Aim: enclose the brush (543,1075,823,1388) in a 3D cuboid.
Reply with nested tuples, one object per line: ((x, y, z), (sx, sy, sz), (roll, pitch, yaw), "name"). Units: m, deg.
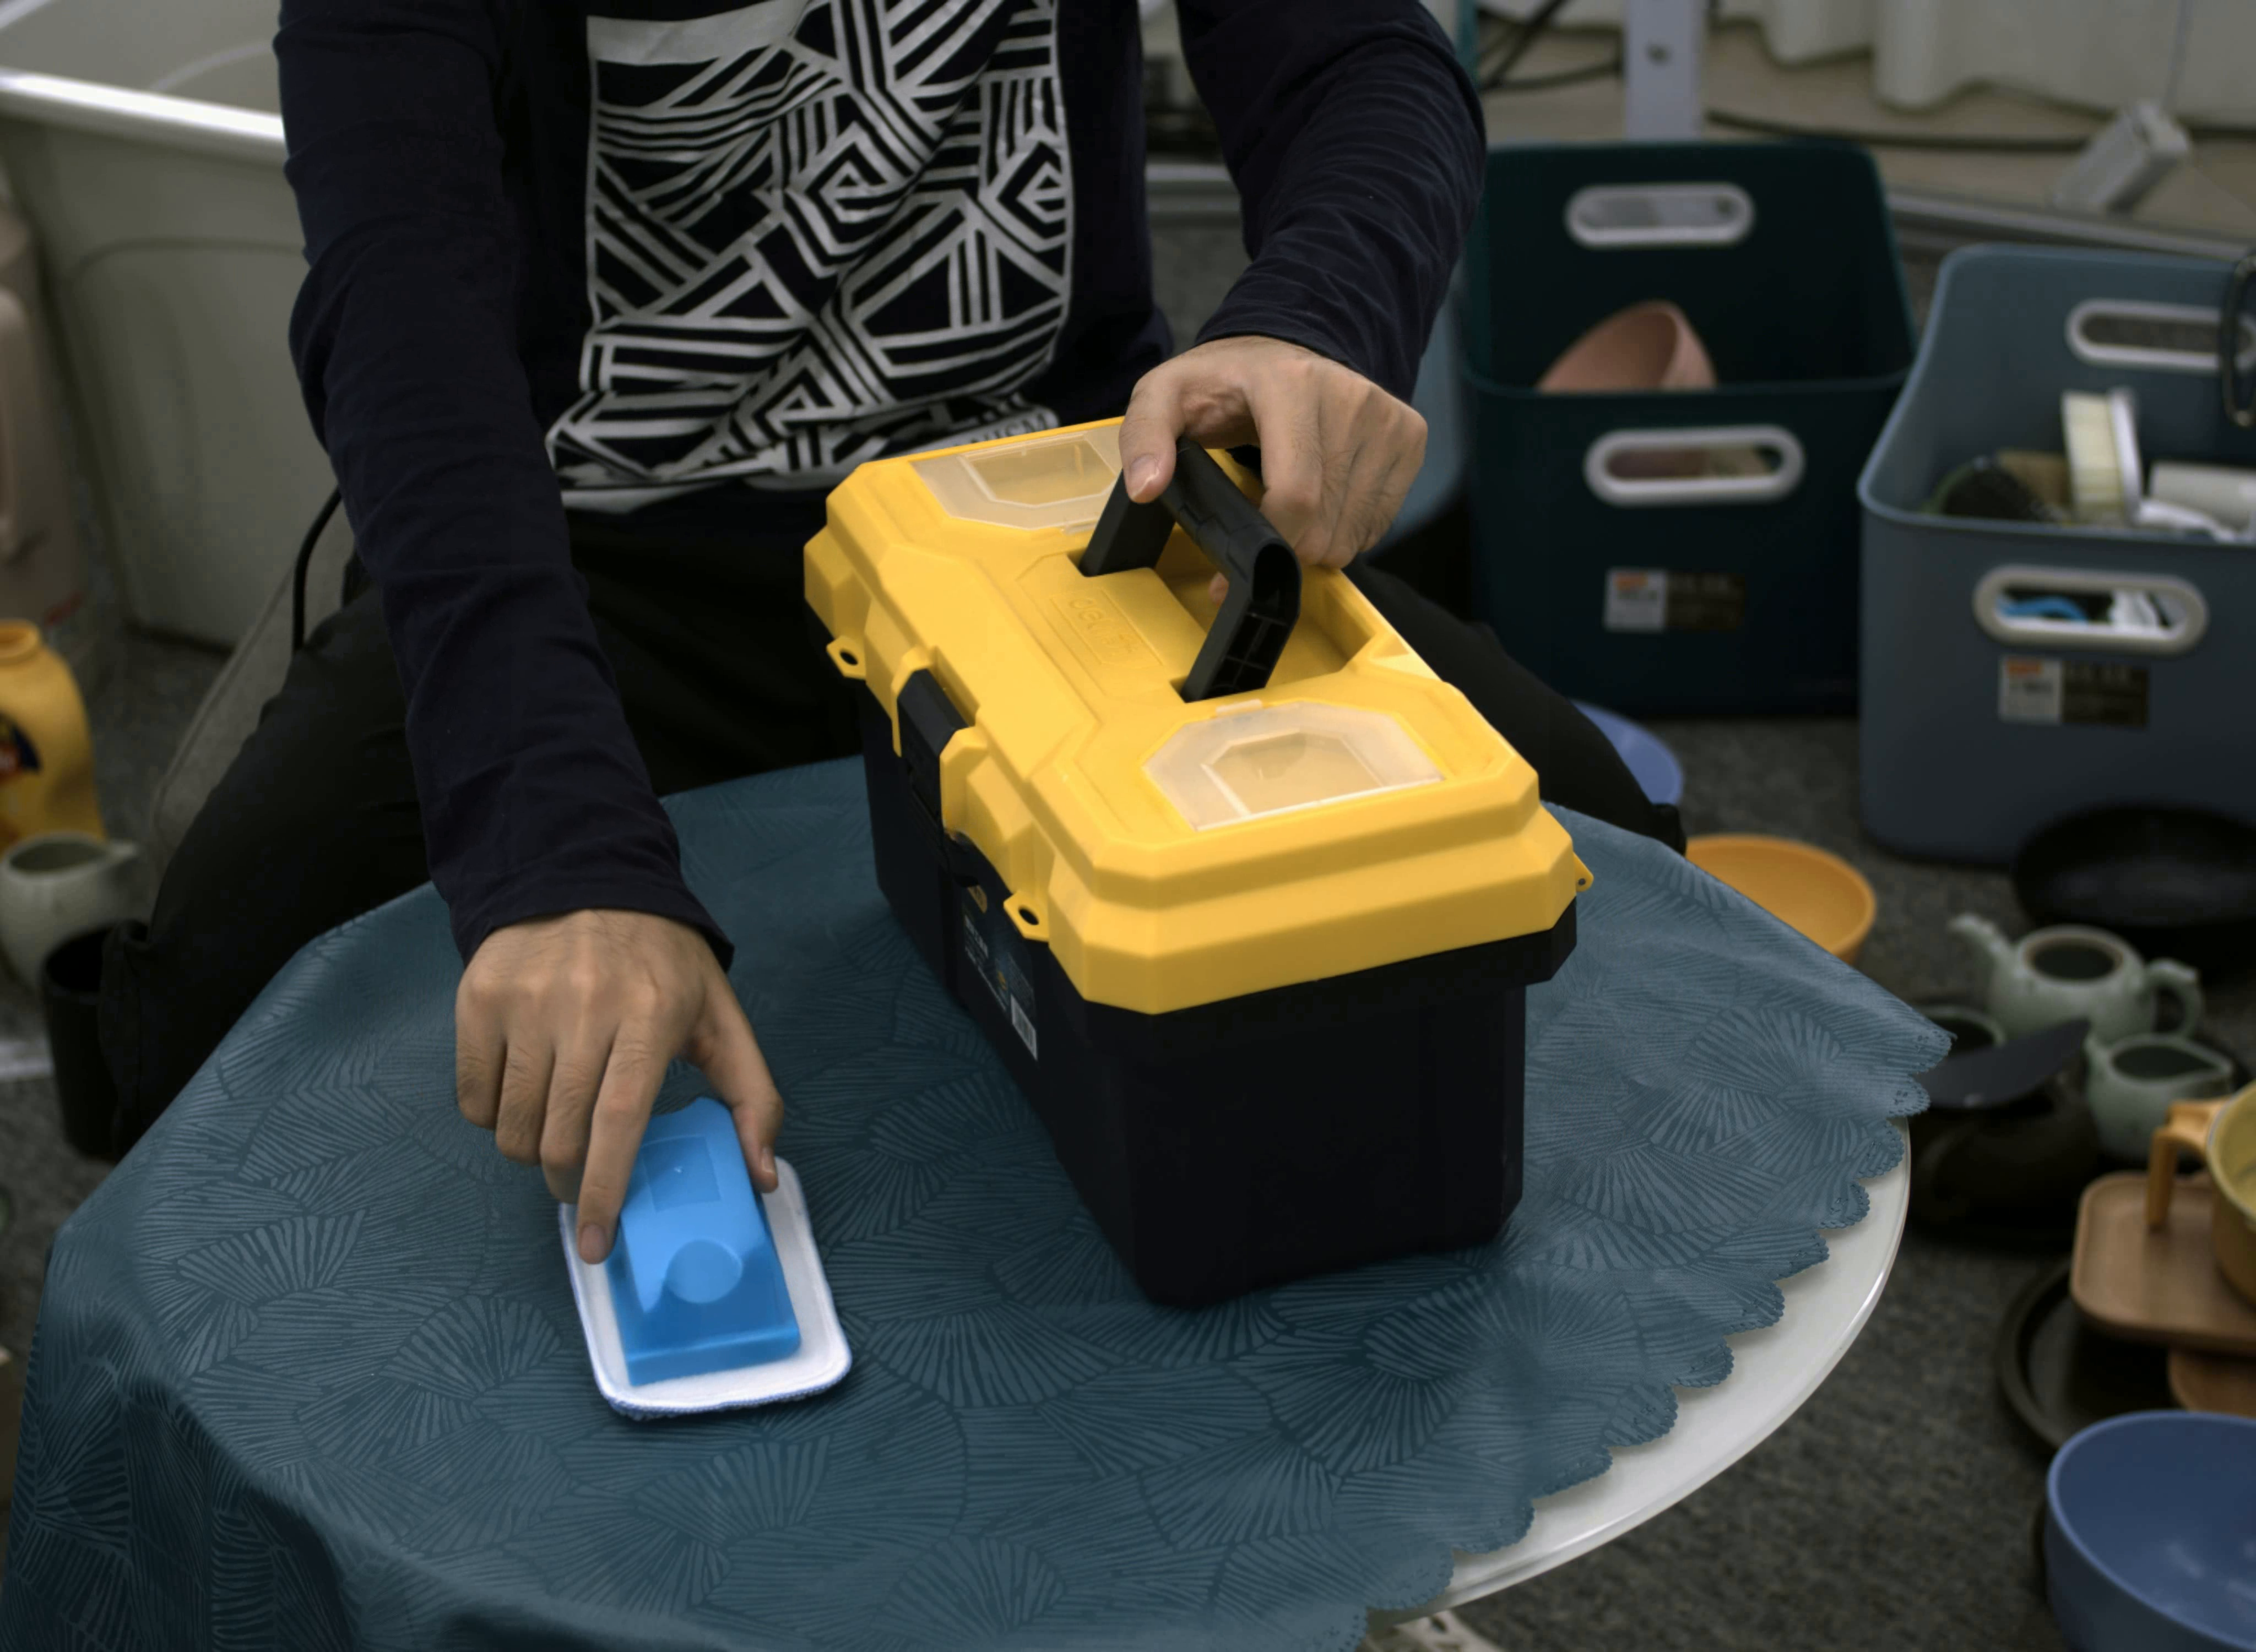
((-0.142, 0.126, 1.800), (0.084, 0.055, 0.146), (-4, 29, -9), "brush")

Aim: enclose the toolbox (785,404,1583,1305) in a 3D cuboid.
((0.014, 0.003, 1.900), (0.181, 0.171, 0.354), (-11, 28, -16), "toolbox")
